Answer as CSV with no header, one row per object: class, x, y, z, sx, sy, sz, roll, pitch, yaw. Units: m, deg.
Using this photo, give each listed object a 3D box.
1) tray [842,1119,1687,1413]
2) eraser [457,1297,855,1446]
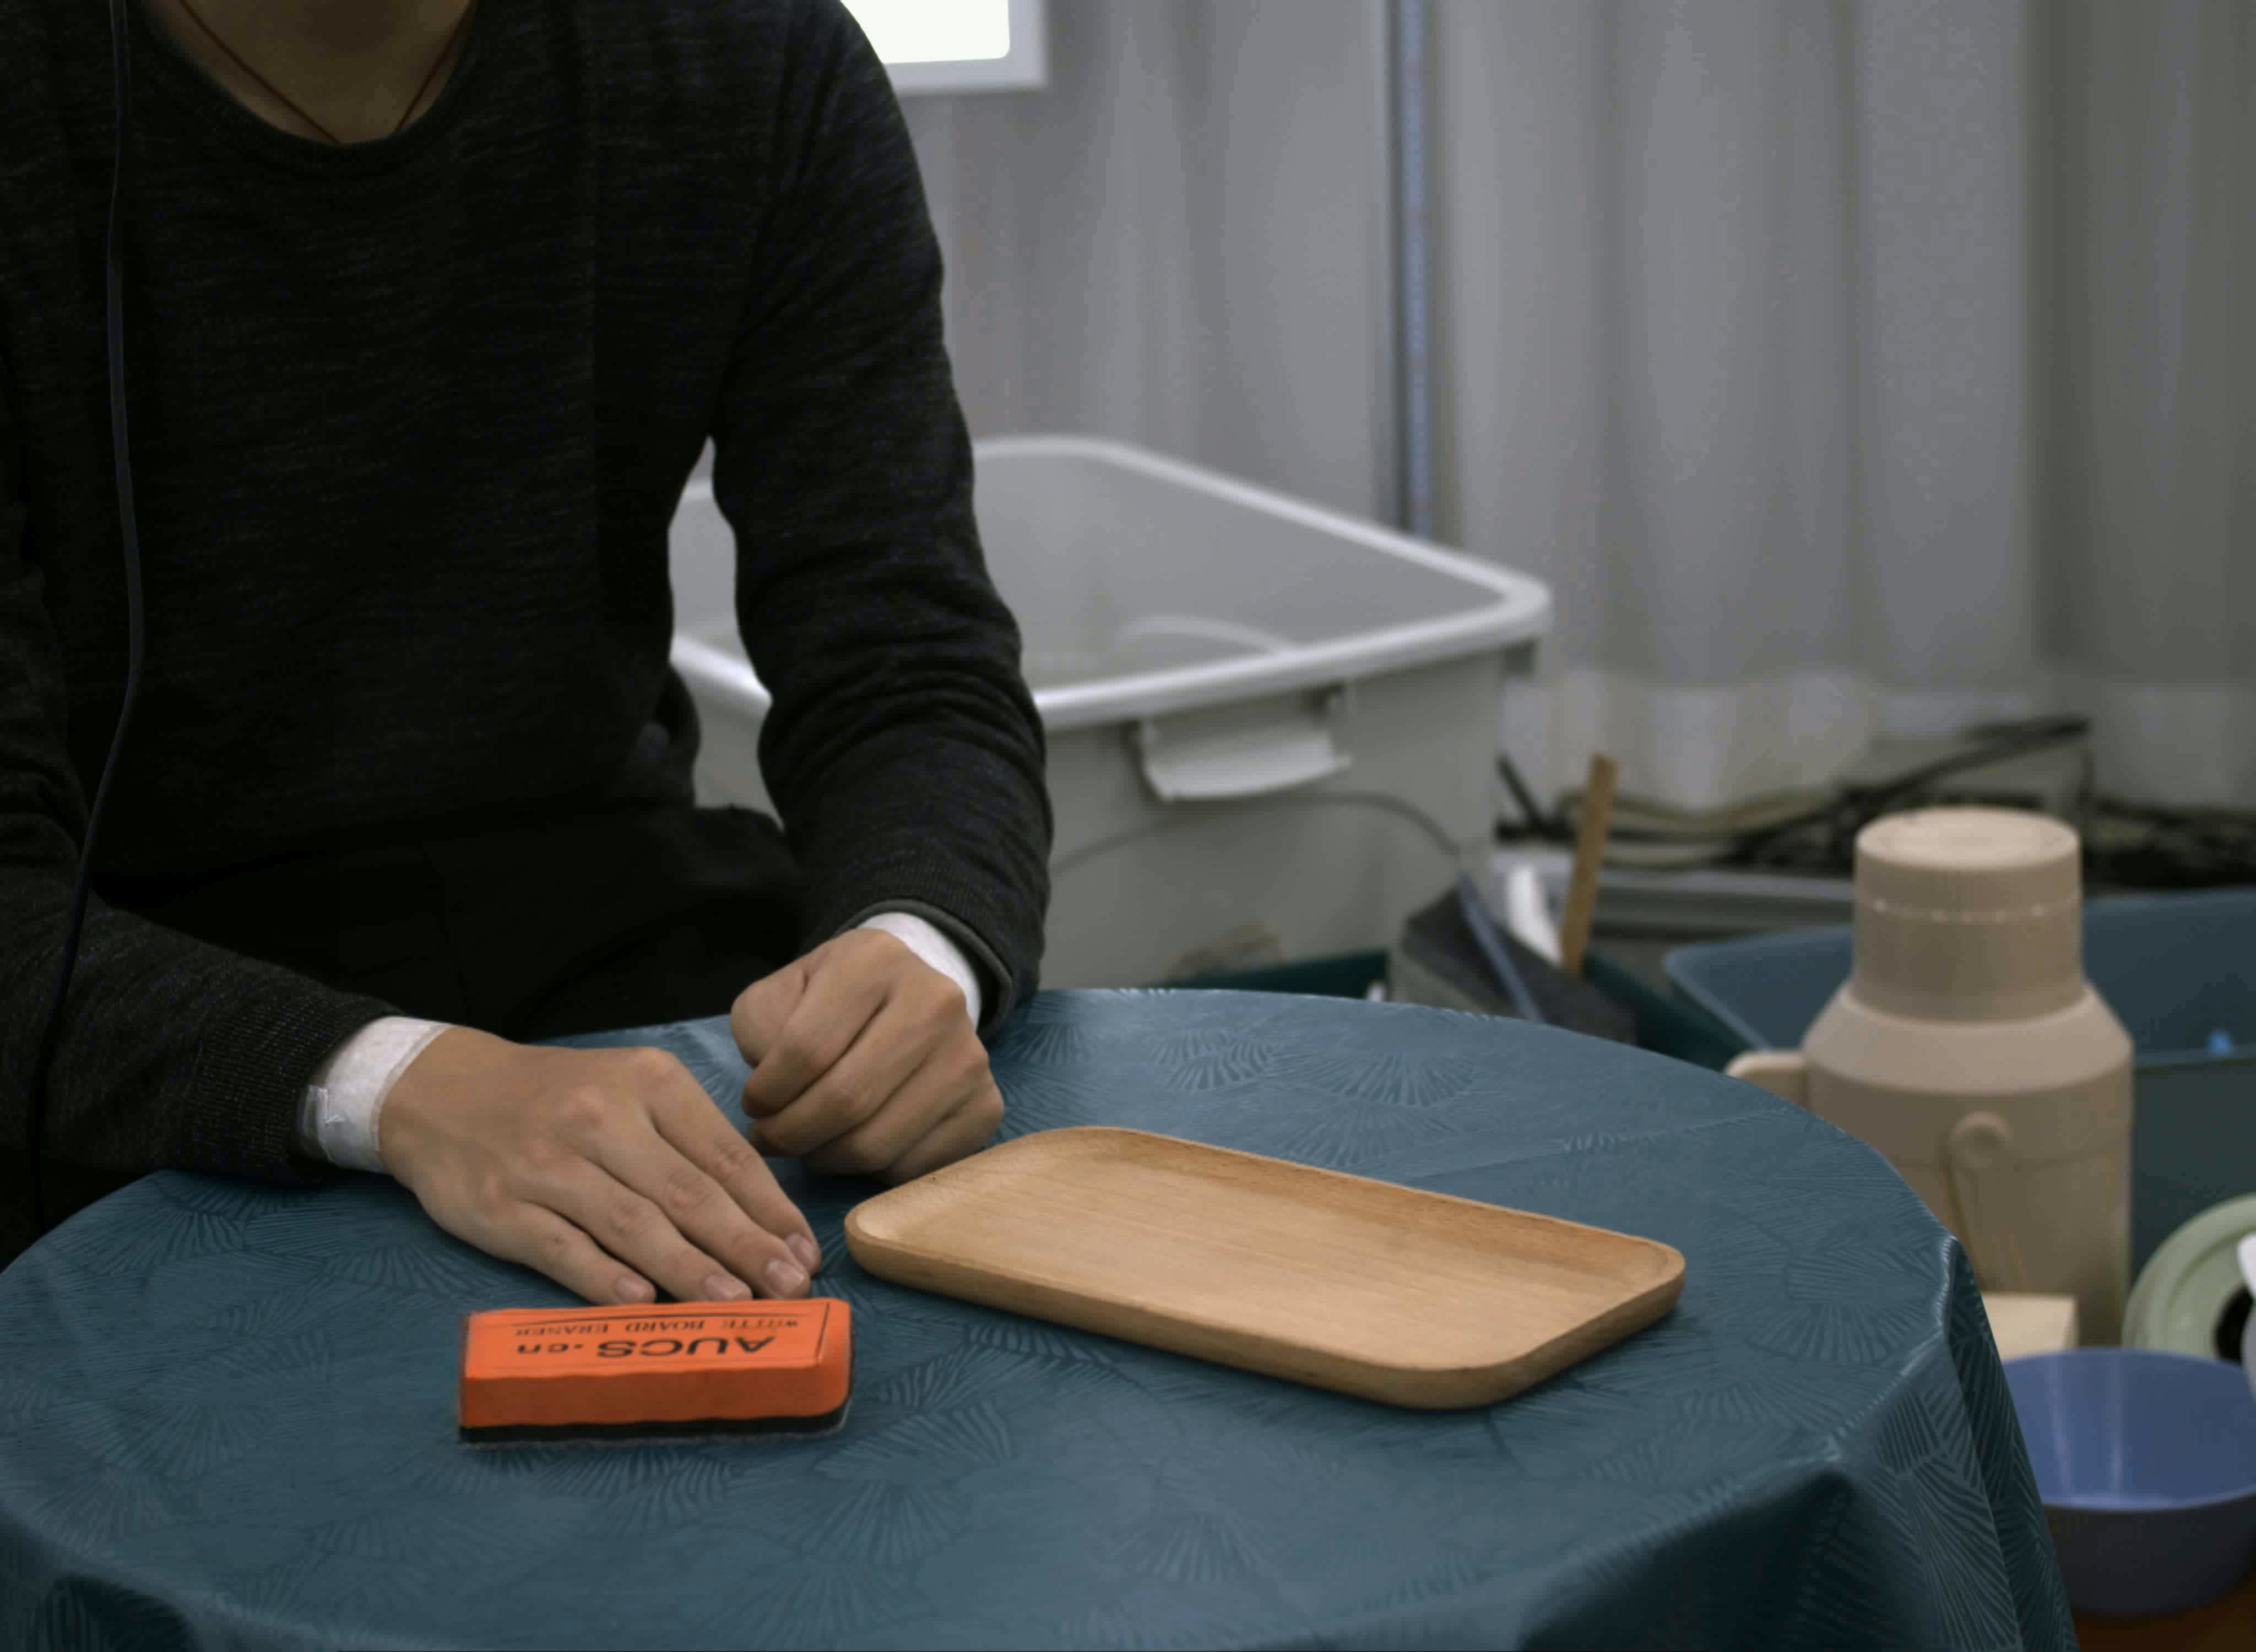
tray,0.038,0.128,1.621,0.252,0.023,0.130,9,17,41
eraser,-0.132,0.154,1.544,0.108,0.023,0.059,-2,15,4
